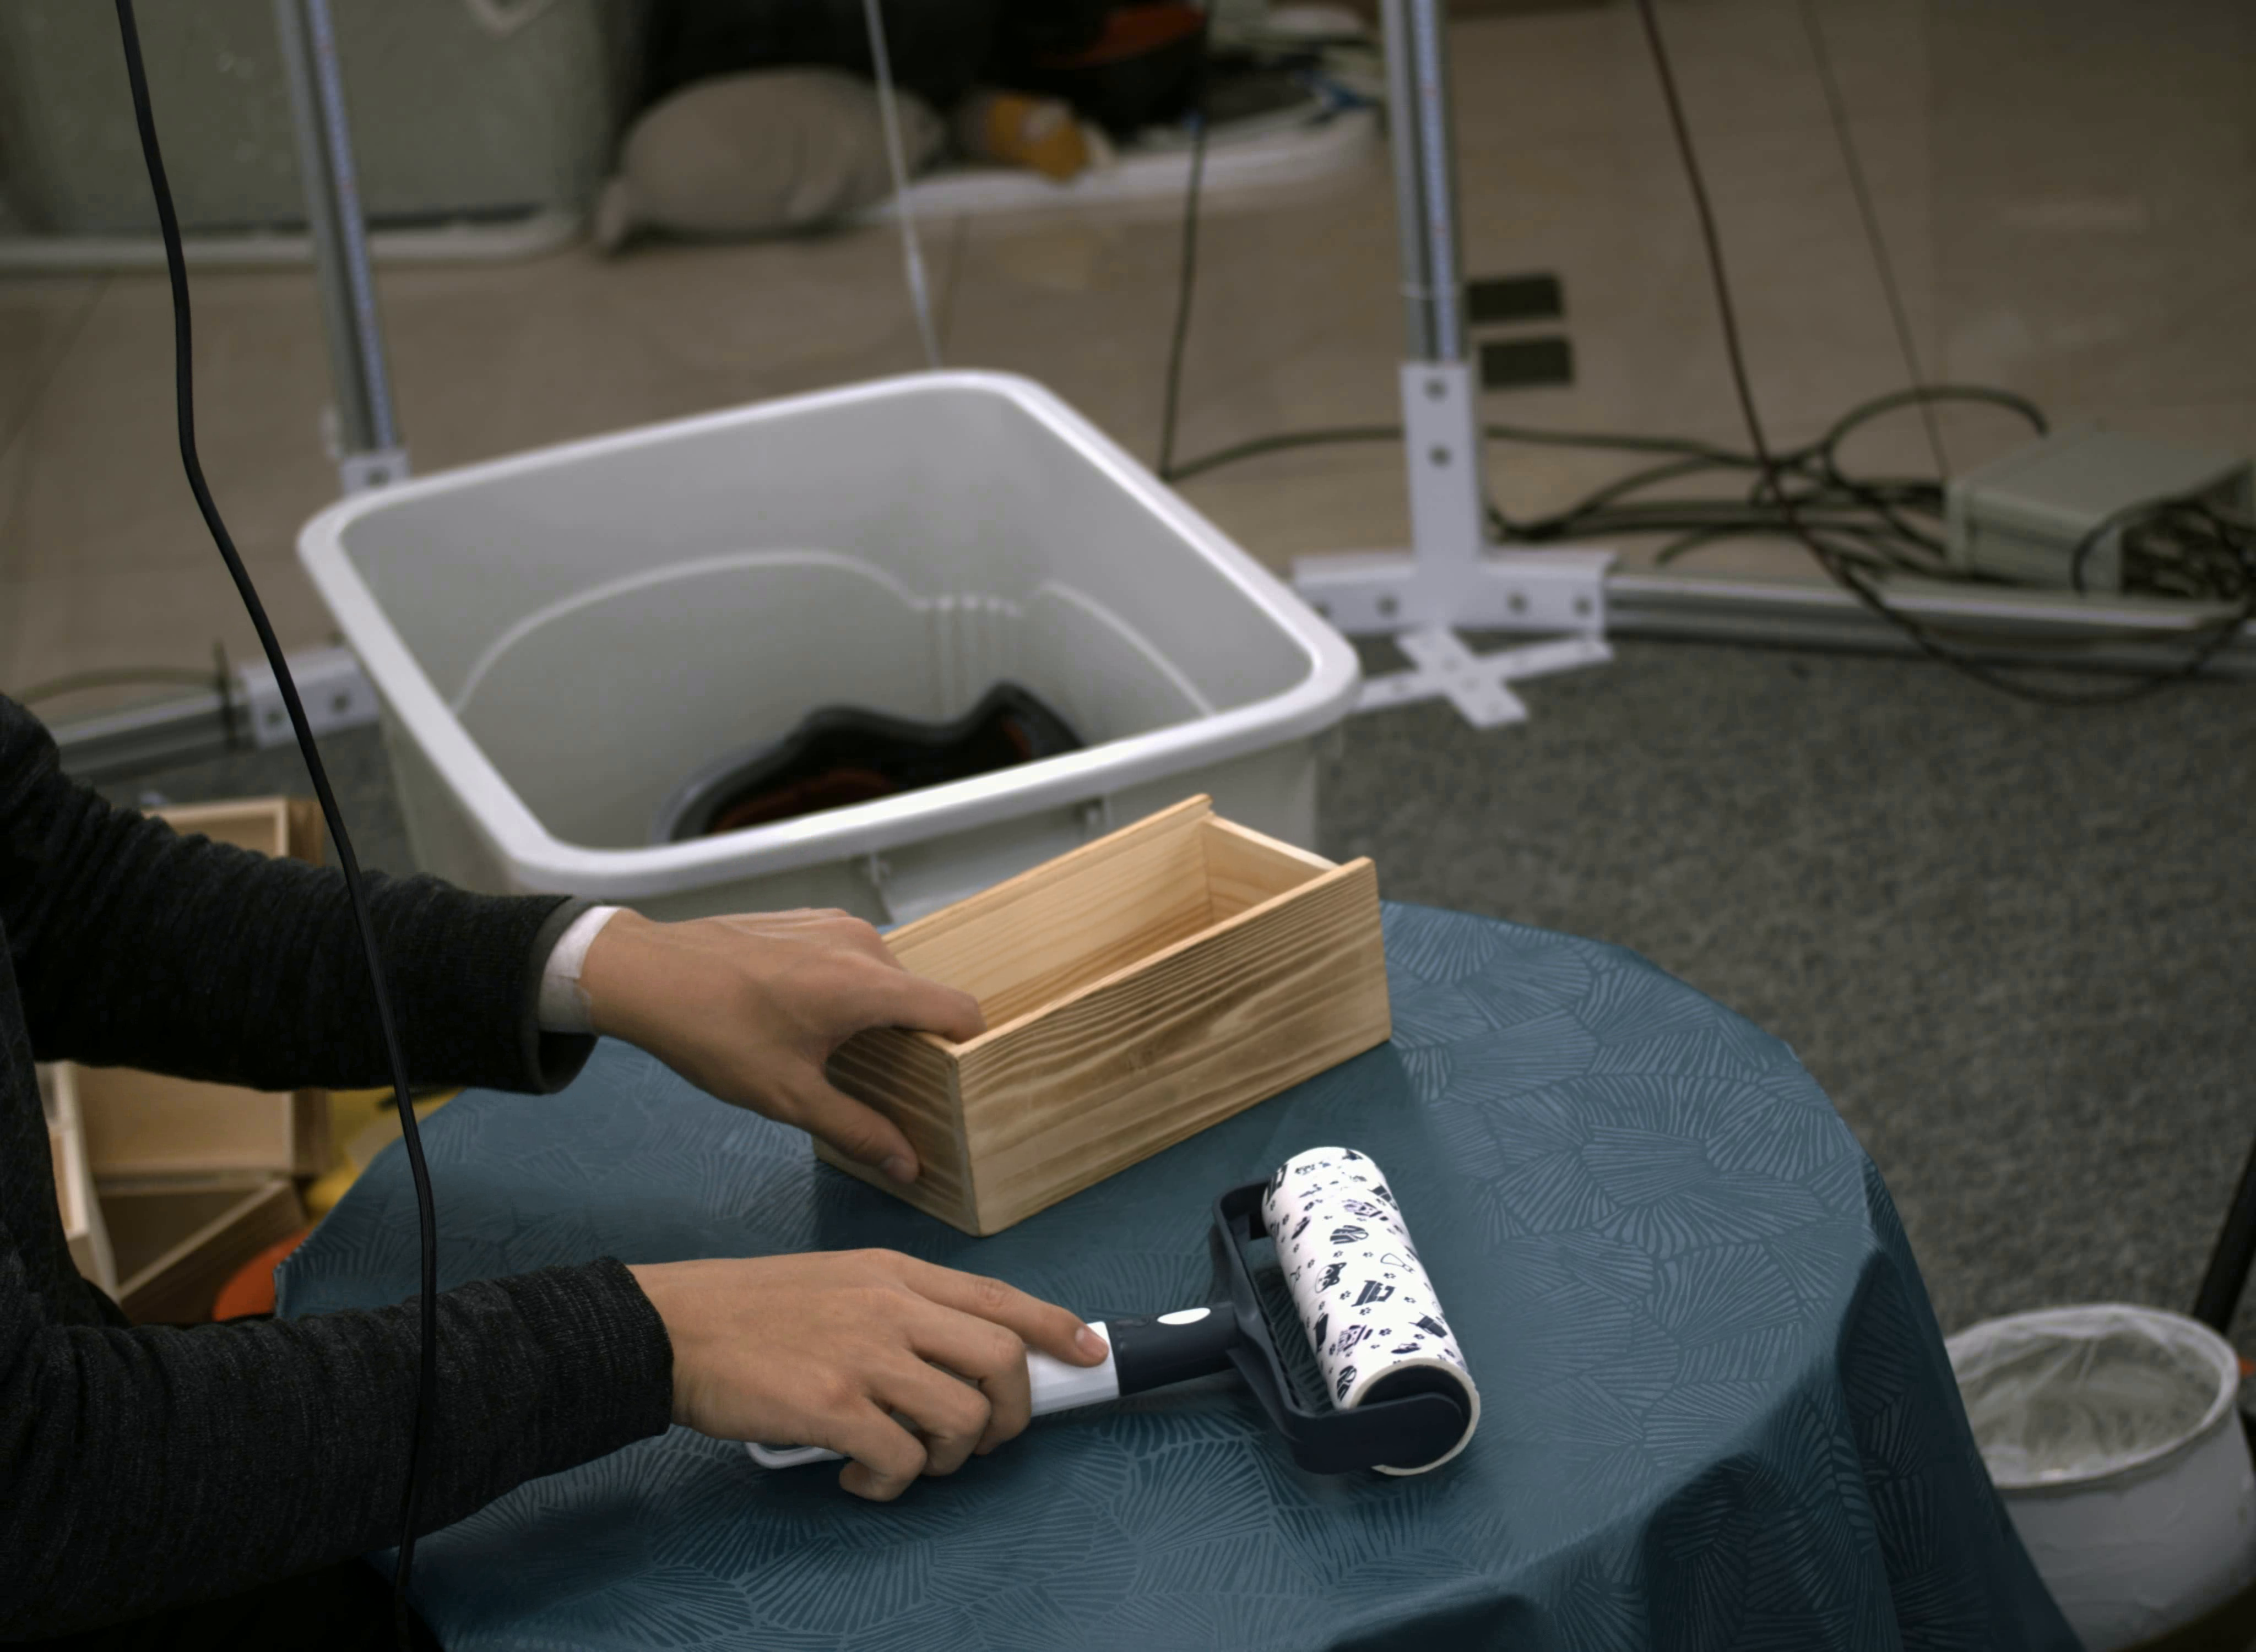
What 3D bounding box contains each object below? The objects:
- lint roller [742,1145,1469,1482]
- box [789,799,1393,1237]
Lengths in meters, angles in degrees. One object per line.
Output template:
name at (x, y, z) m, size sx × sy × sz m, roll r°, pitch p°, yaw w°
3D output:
lint roller at (-0.015, 0.188, 1.995) m, size 0.246 × 0.051 × 0.174 m, roll -10°, pitch 26°, yaw -6°
box at (-0.013, 0.071, 2.201) m, size 0.210 × 0.081 × 0.106 m, roll -25°, pitch 31°, yaw -33°
